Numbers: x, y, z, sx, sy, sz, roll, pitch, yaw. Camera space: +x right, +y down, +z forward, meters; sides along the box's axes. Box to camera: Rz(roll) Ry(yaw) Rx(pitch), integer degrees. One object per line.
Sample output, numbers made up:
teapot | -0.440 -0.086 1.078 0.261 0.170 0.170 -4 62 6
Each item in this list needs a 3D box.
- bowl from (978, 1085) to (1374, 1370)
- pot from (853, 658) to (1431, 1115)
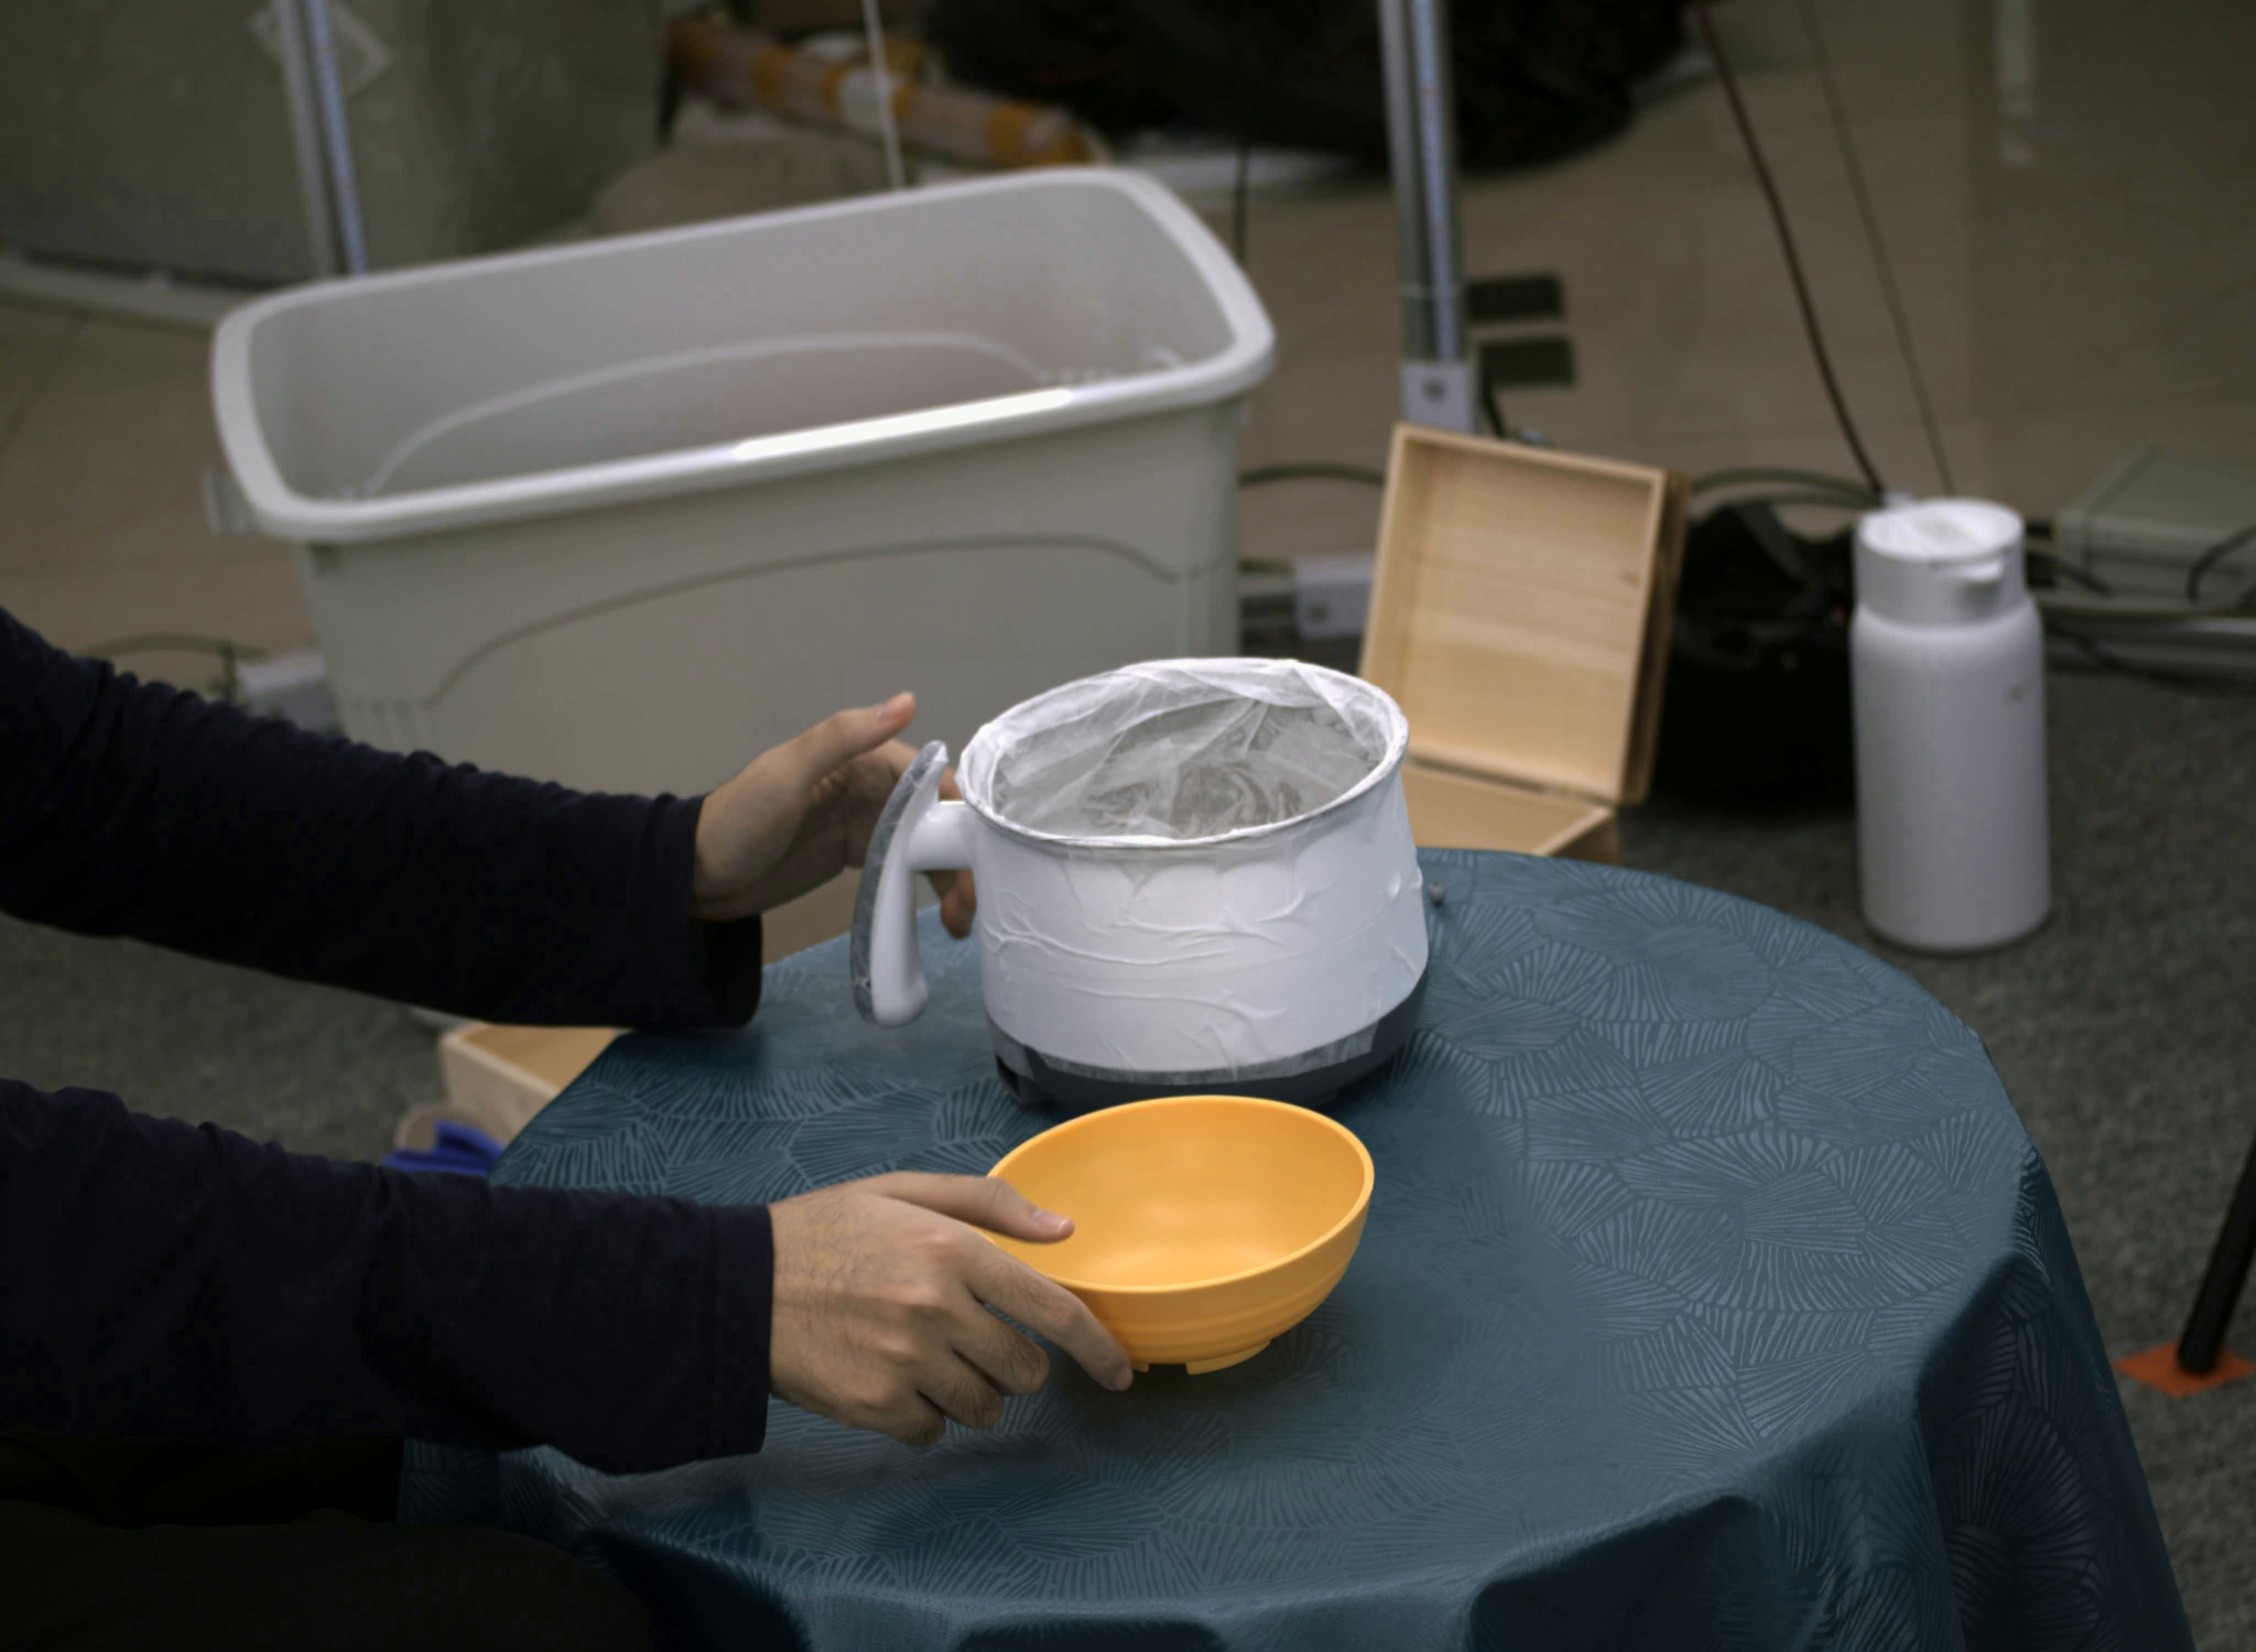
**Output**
bowl | 0.021 0.154 2.040 0.145 0.061 0.143 -7 26 4
pot | 0.001 0.028 2.228 0.233 0.139 0.176 -2 25 12
